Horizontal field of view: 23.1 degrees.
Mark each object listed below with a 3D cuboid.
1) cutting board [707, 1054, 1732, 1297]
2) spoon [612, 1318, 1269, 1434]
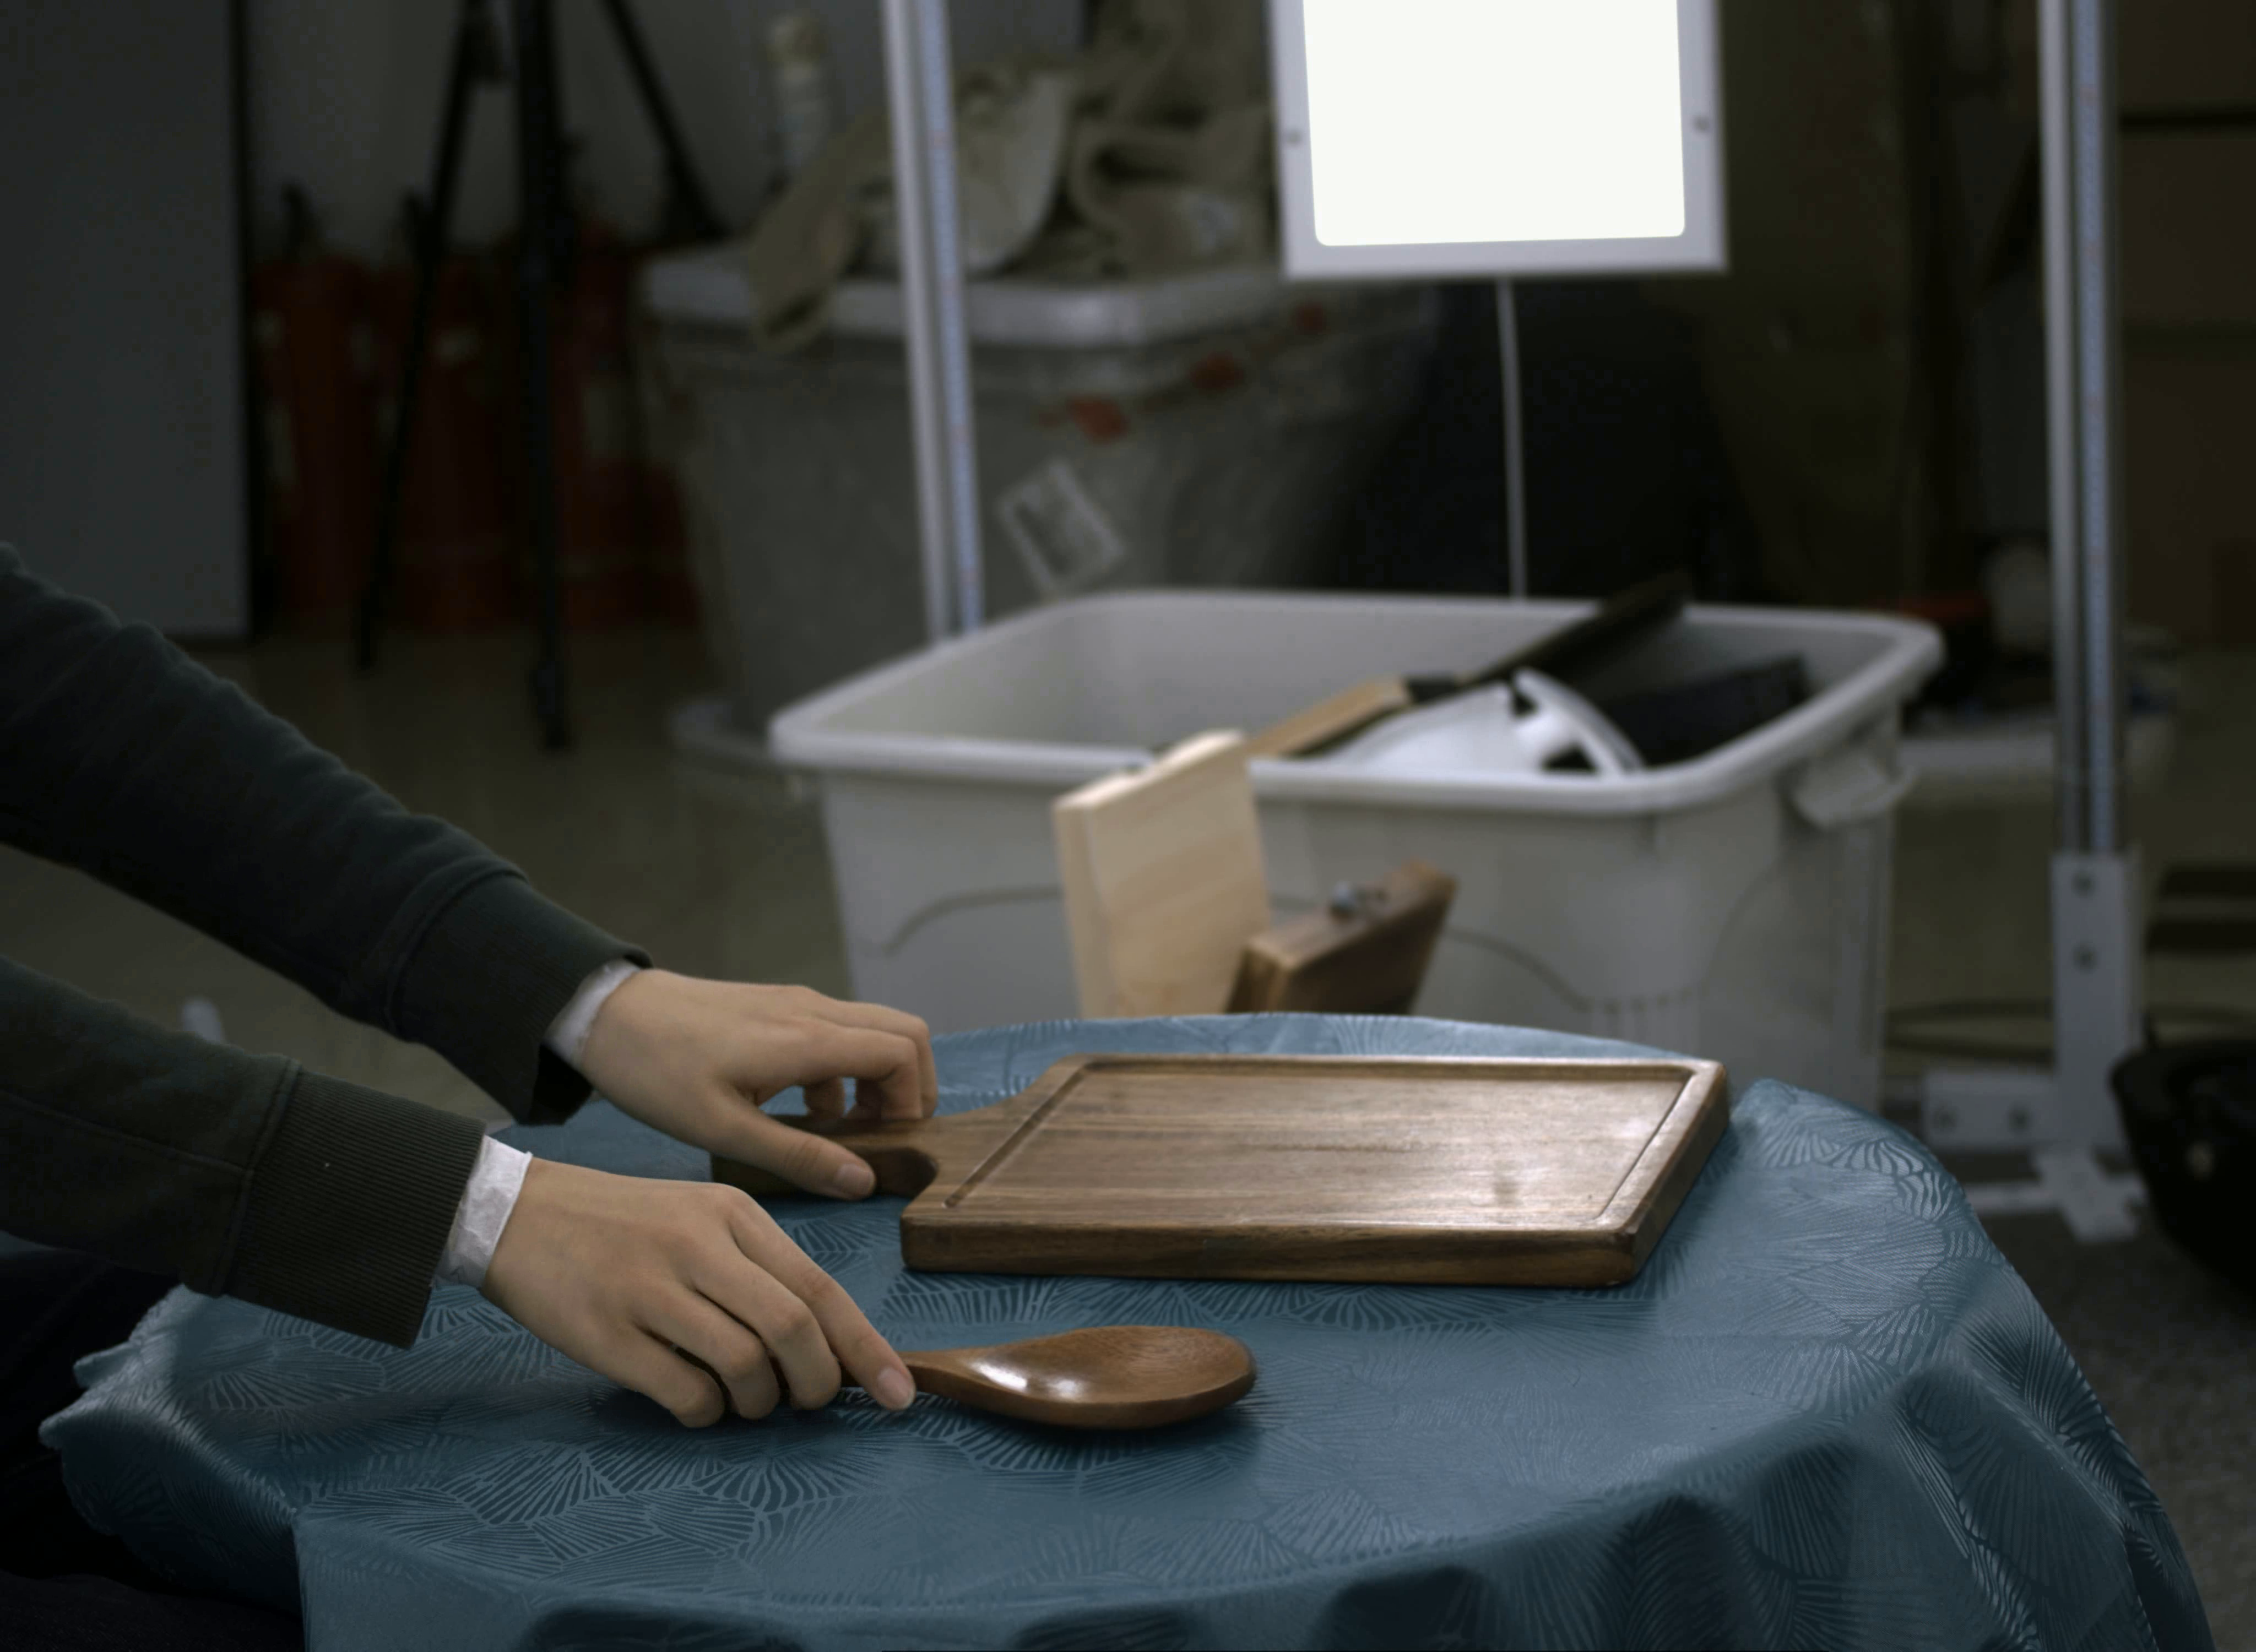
[{"bbox_3d":[0.022,0.117,1.895,0.356,0.023,0.198,0,16,19],"label":"cutting board"},{"bbox_3d":[-0.060,0.169,1.708,0.219,0.017,0.074,1,17,22],"label":"spoon"}]
